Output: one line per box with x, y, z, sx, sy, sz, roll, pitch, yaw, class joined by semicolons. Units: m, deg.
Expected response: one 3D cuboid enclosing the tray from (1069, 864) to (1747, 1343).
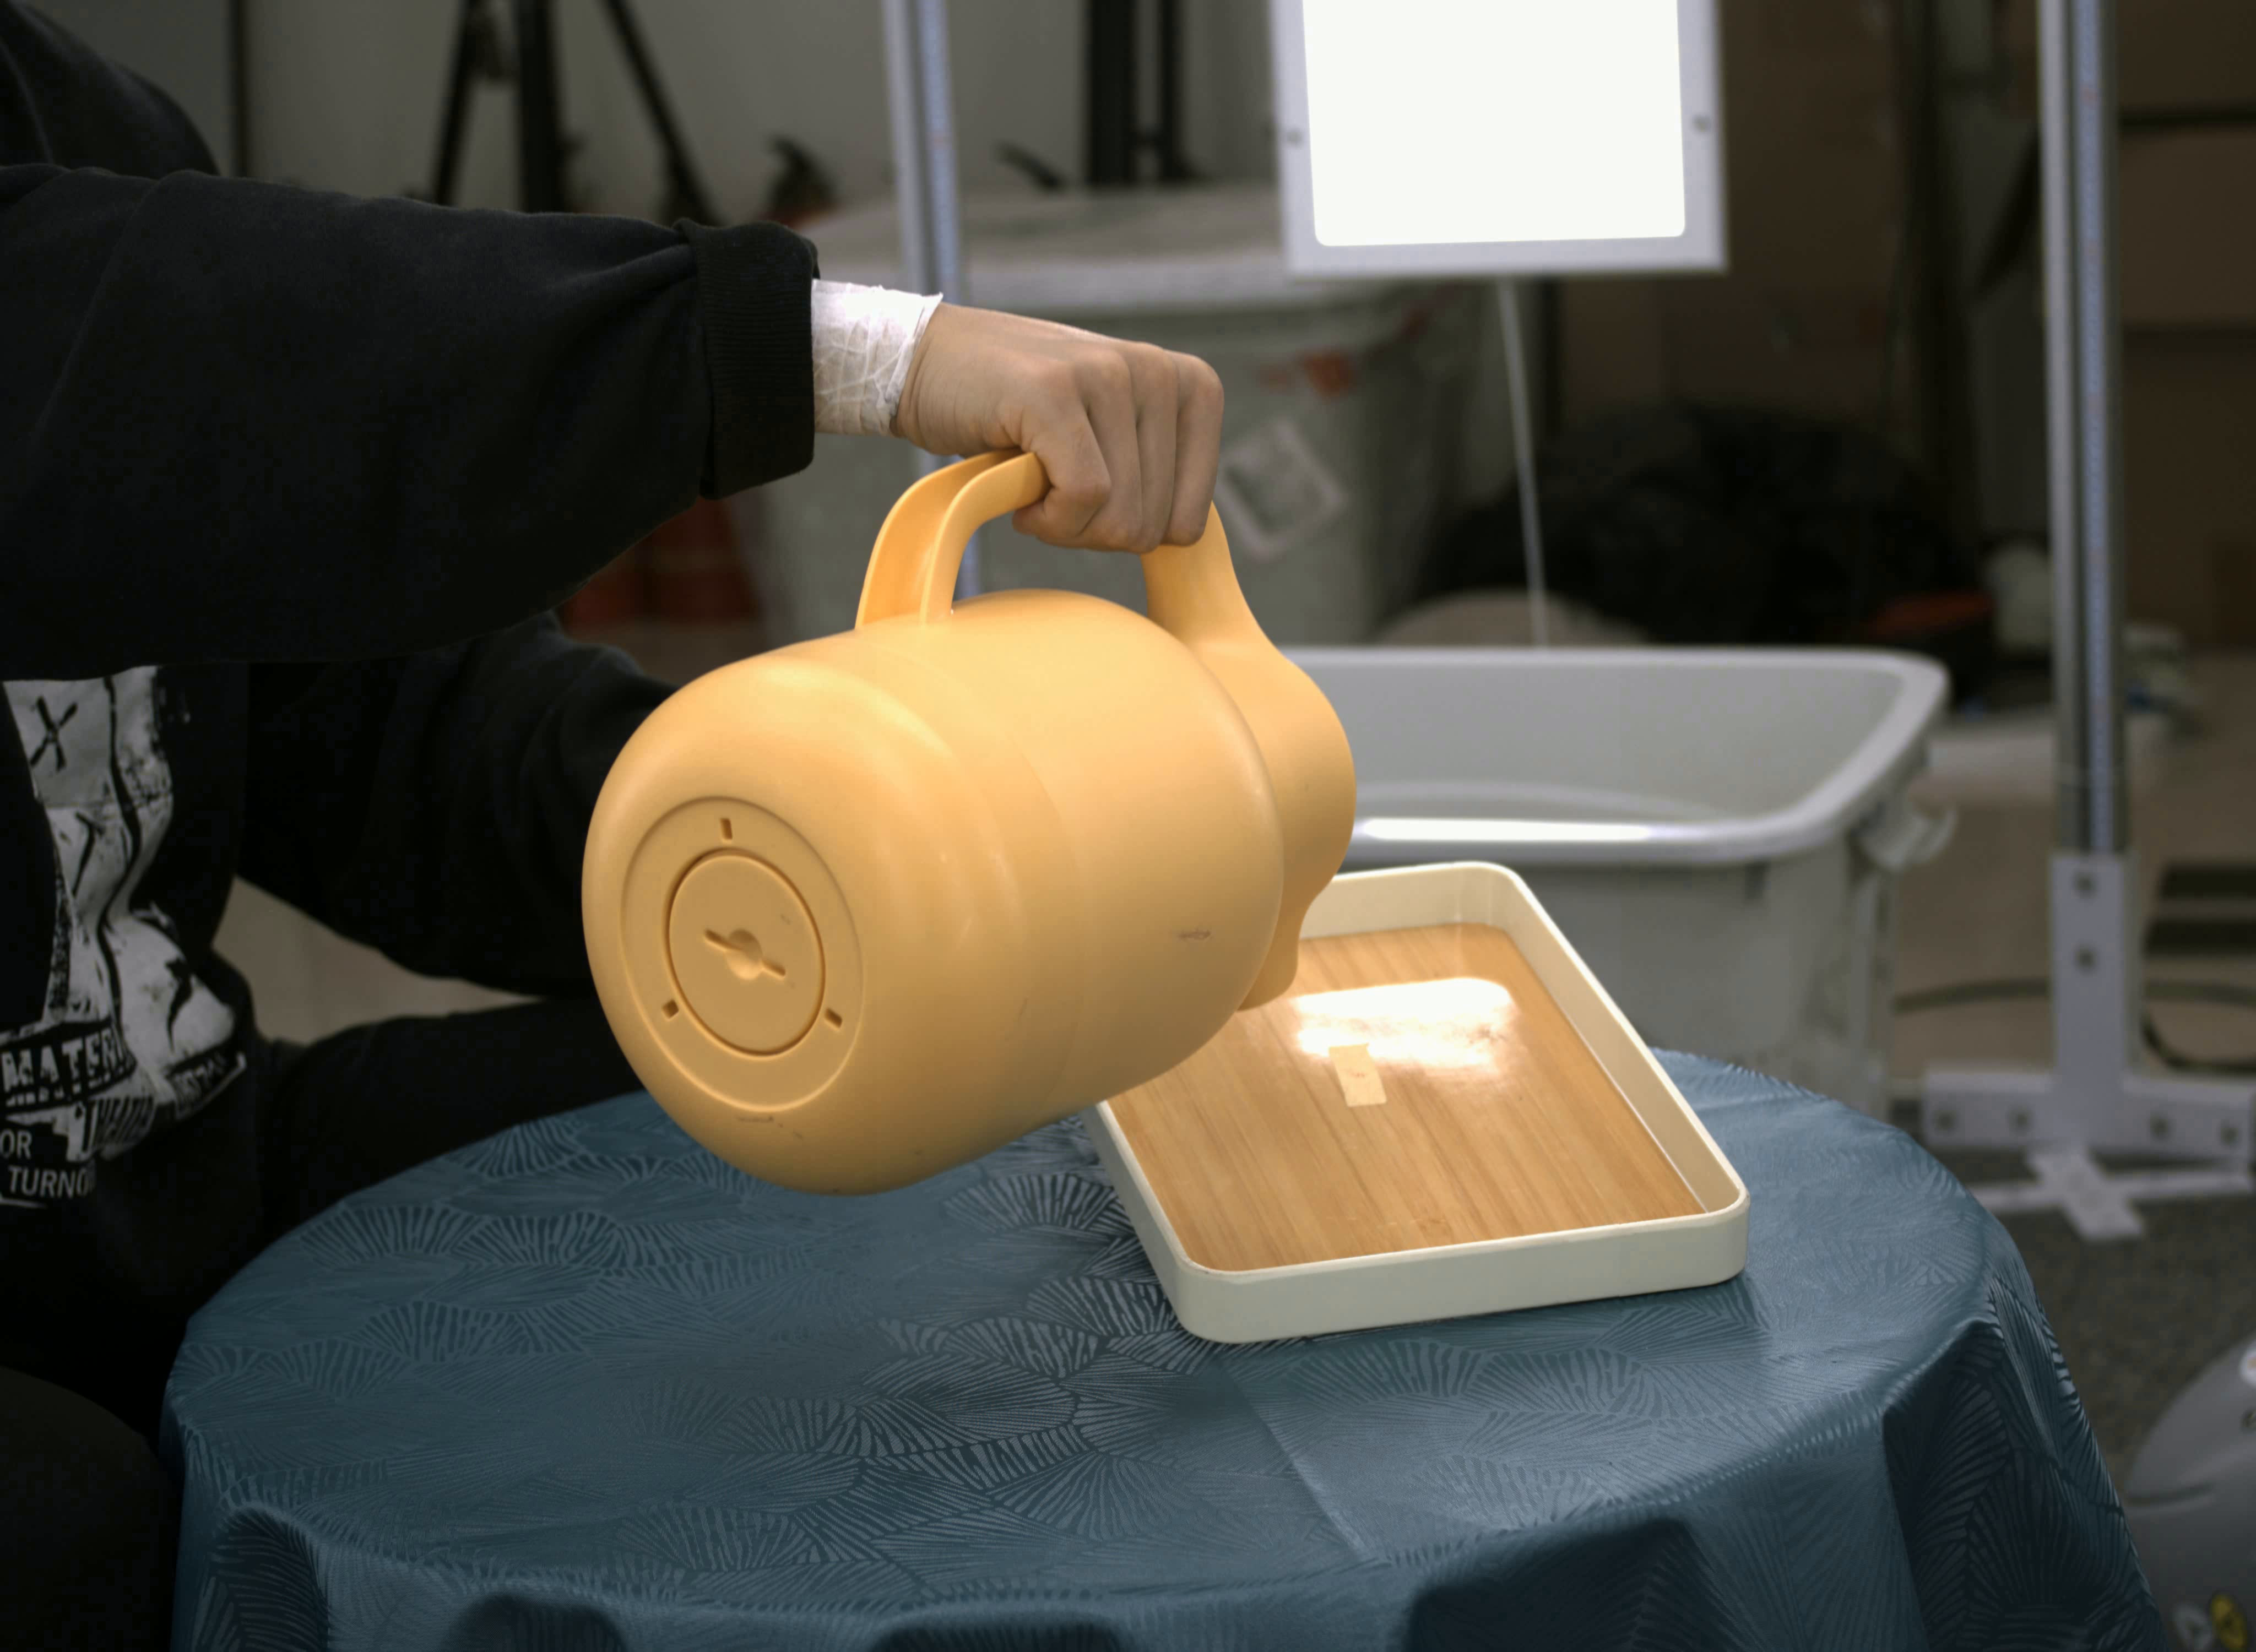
0.078;0.089;1.869;0.189;0.027;0.302;-7;23;-10;tray

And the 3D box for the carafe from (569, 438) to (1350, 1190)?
-0.043;-0.010;1.685;0.167;0.203;0.254;-7;7;40;carafe
